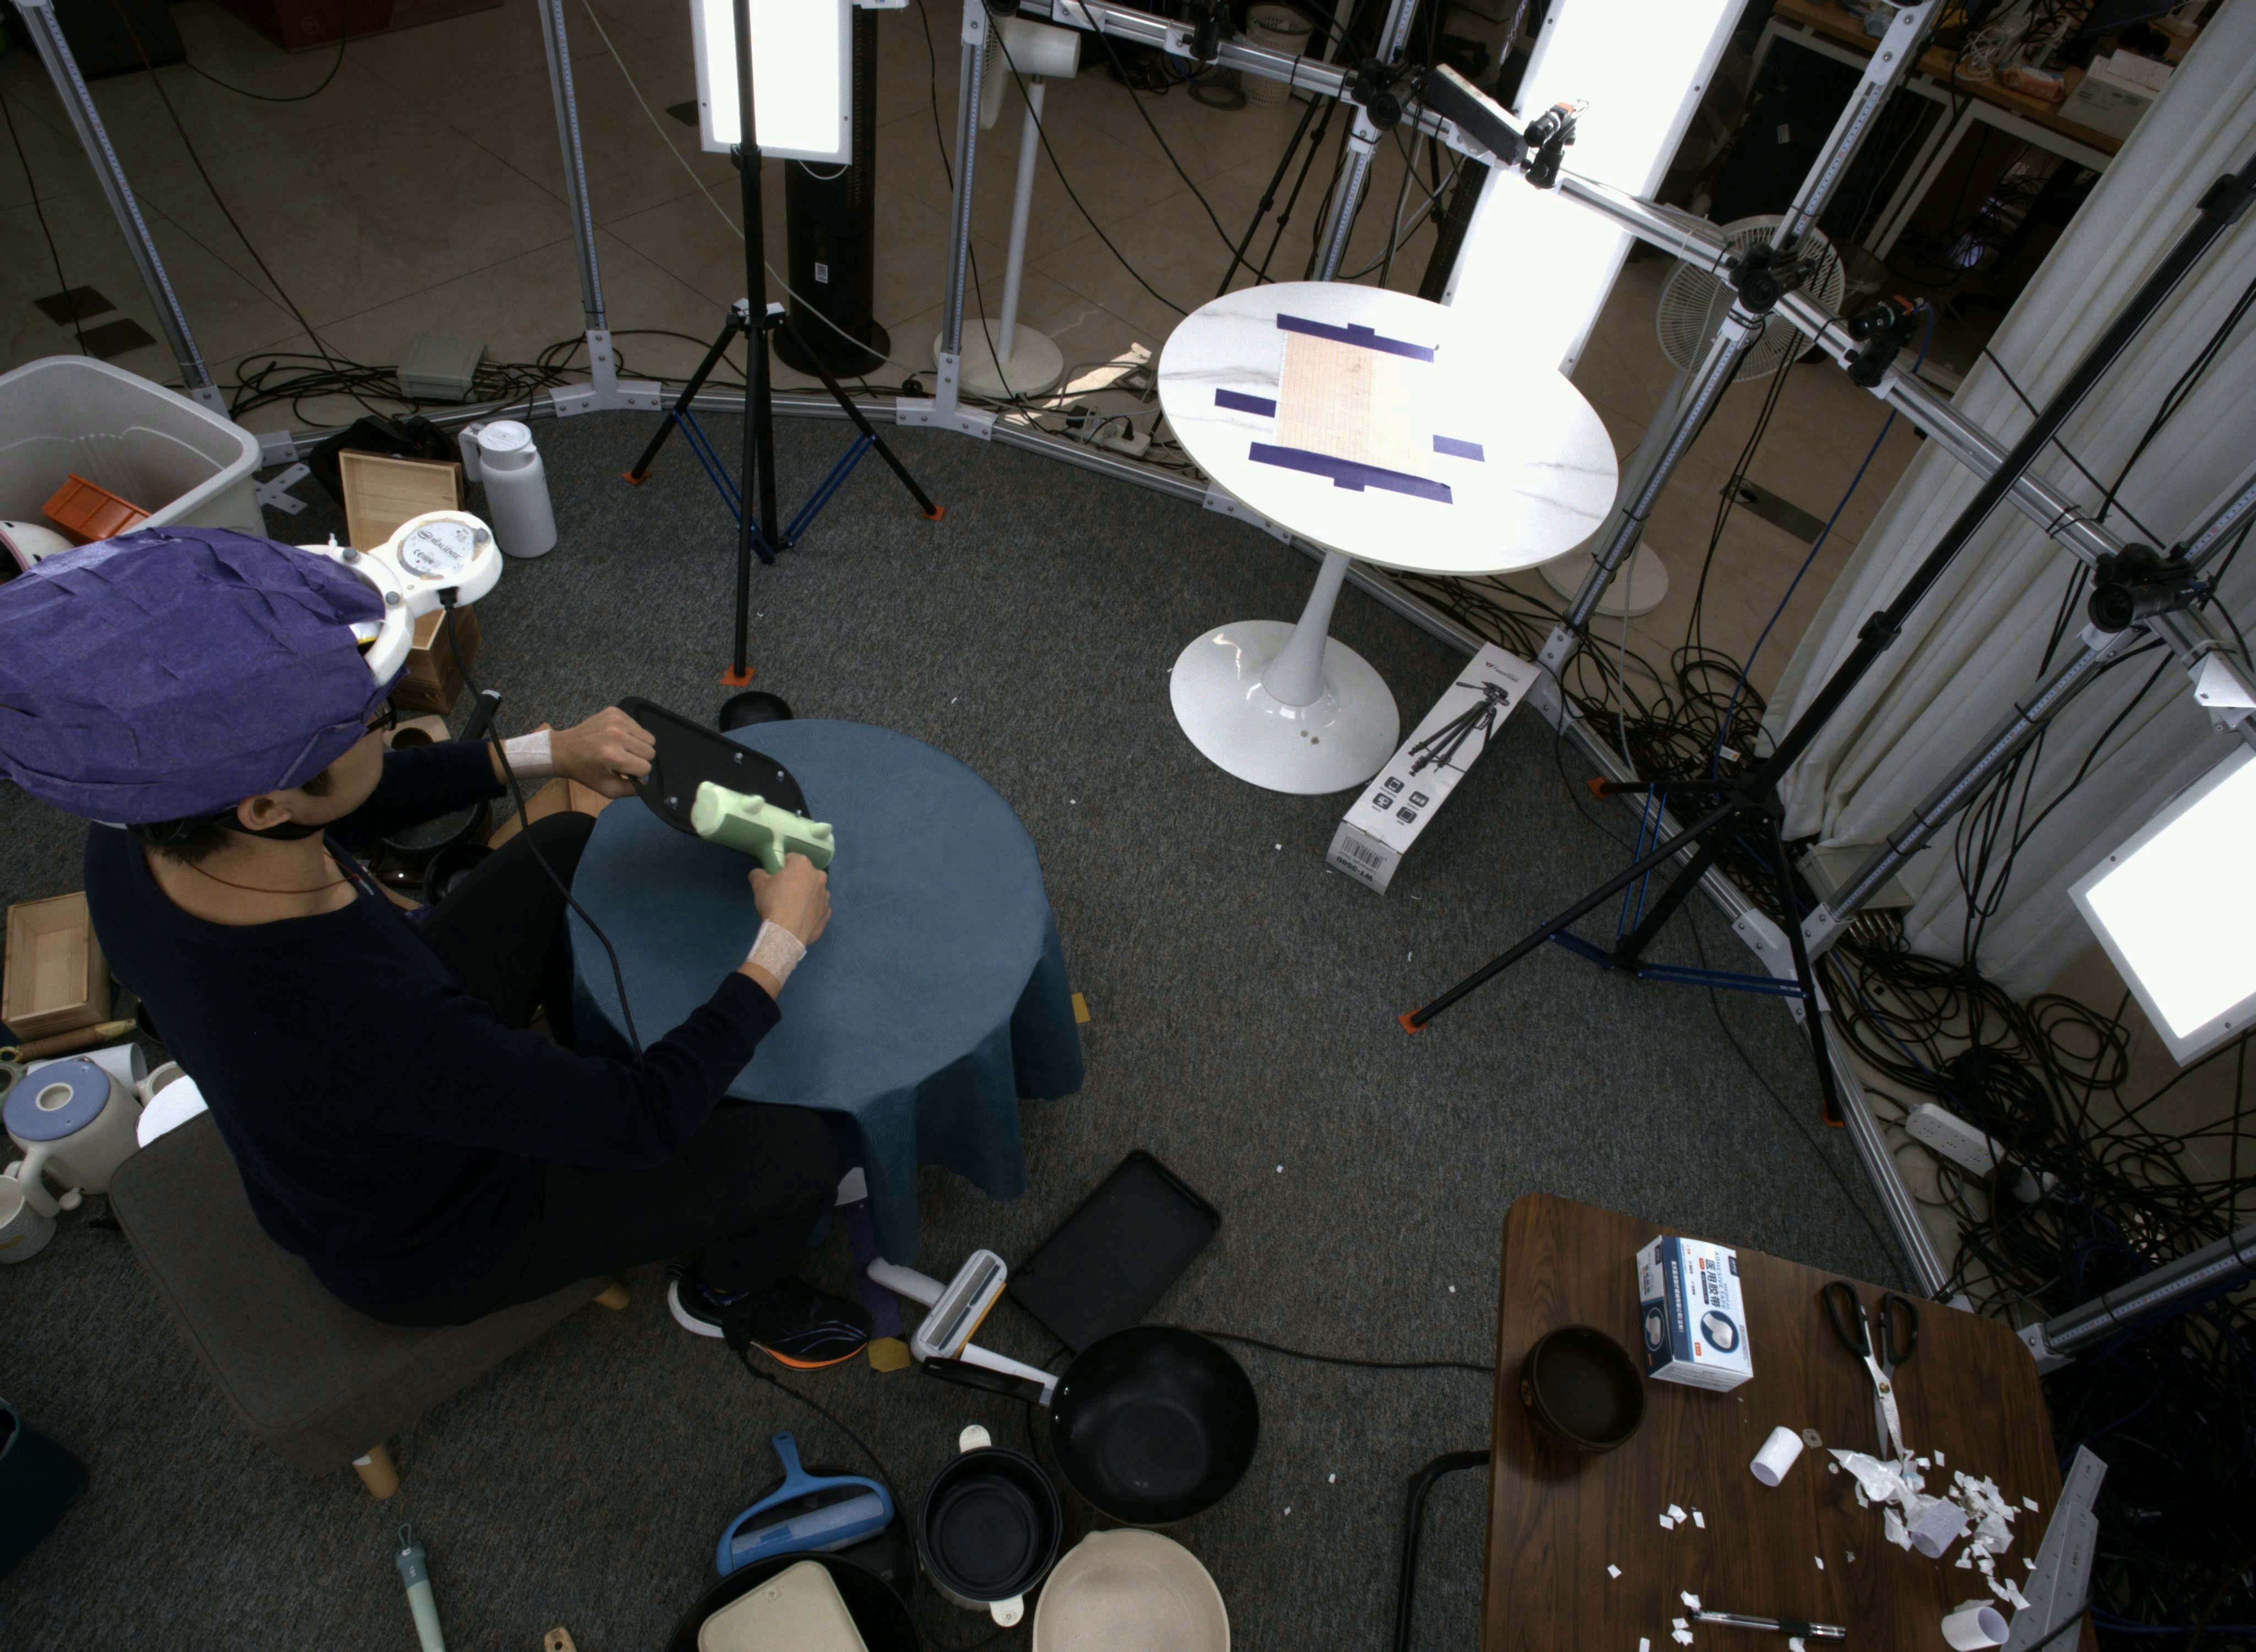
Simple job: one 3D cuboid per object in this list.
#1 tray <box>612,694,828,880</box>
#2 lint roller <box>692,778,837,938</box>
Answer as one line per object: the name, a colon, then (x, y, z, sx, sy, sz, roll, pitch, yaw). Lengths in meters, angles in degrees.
tray: (-0.498, -0.049, 1.576, 0.010, 0.336, 0.205, -37, 58, 15)
lint roller: (-0.381, 0.034, 1.459, 0.082, 0.204, 0.178, -43, 61, 10)
